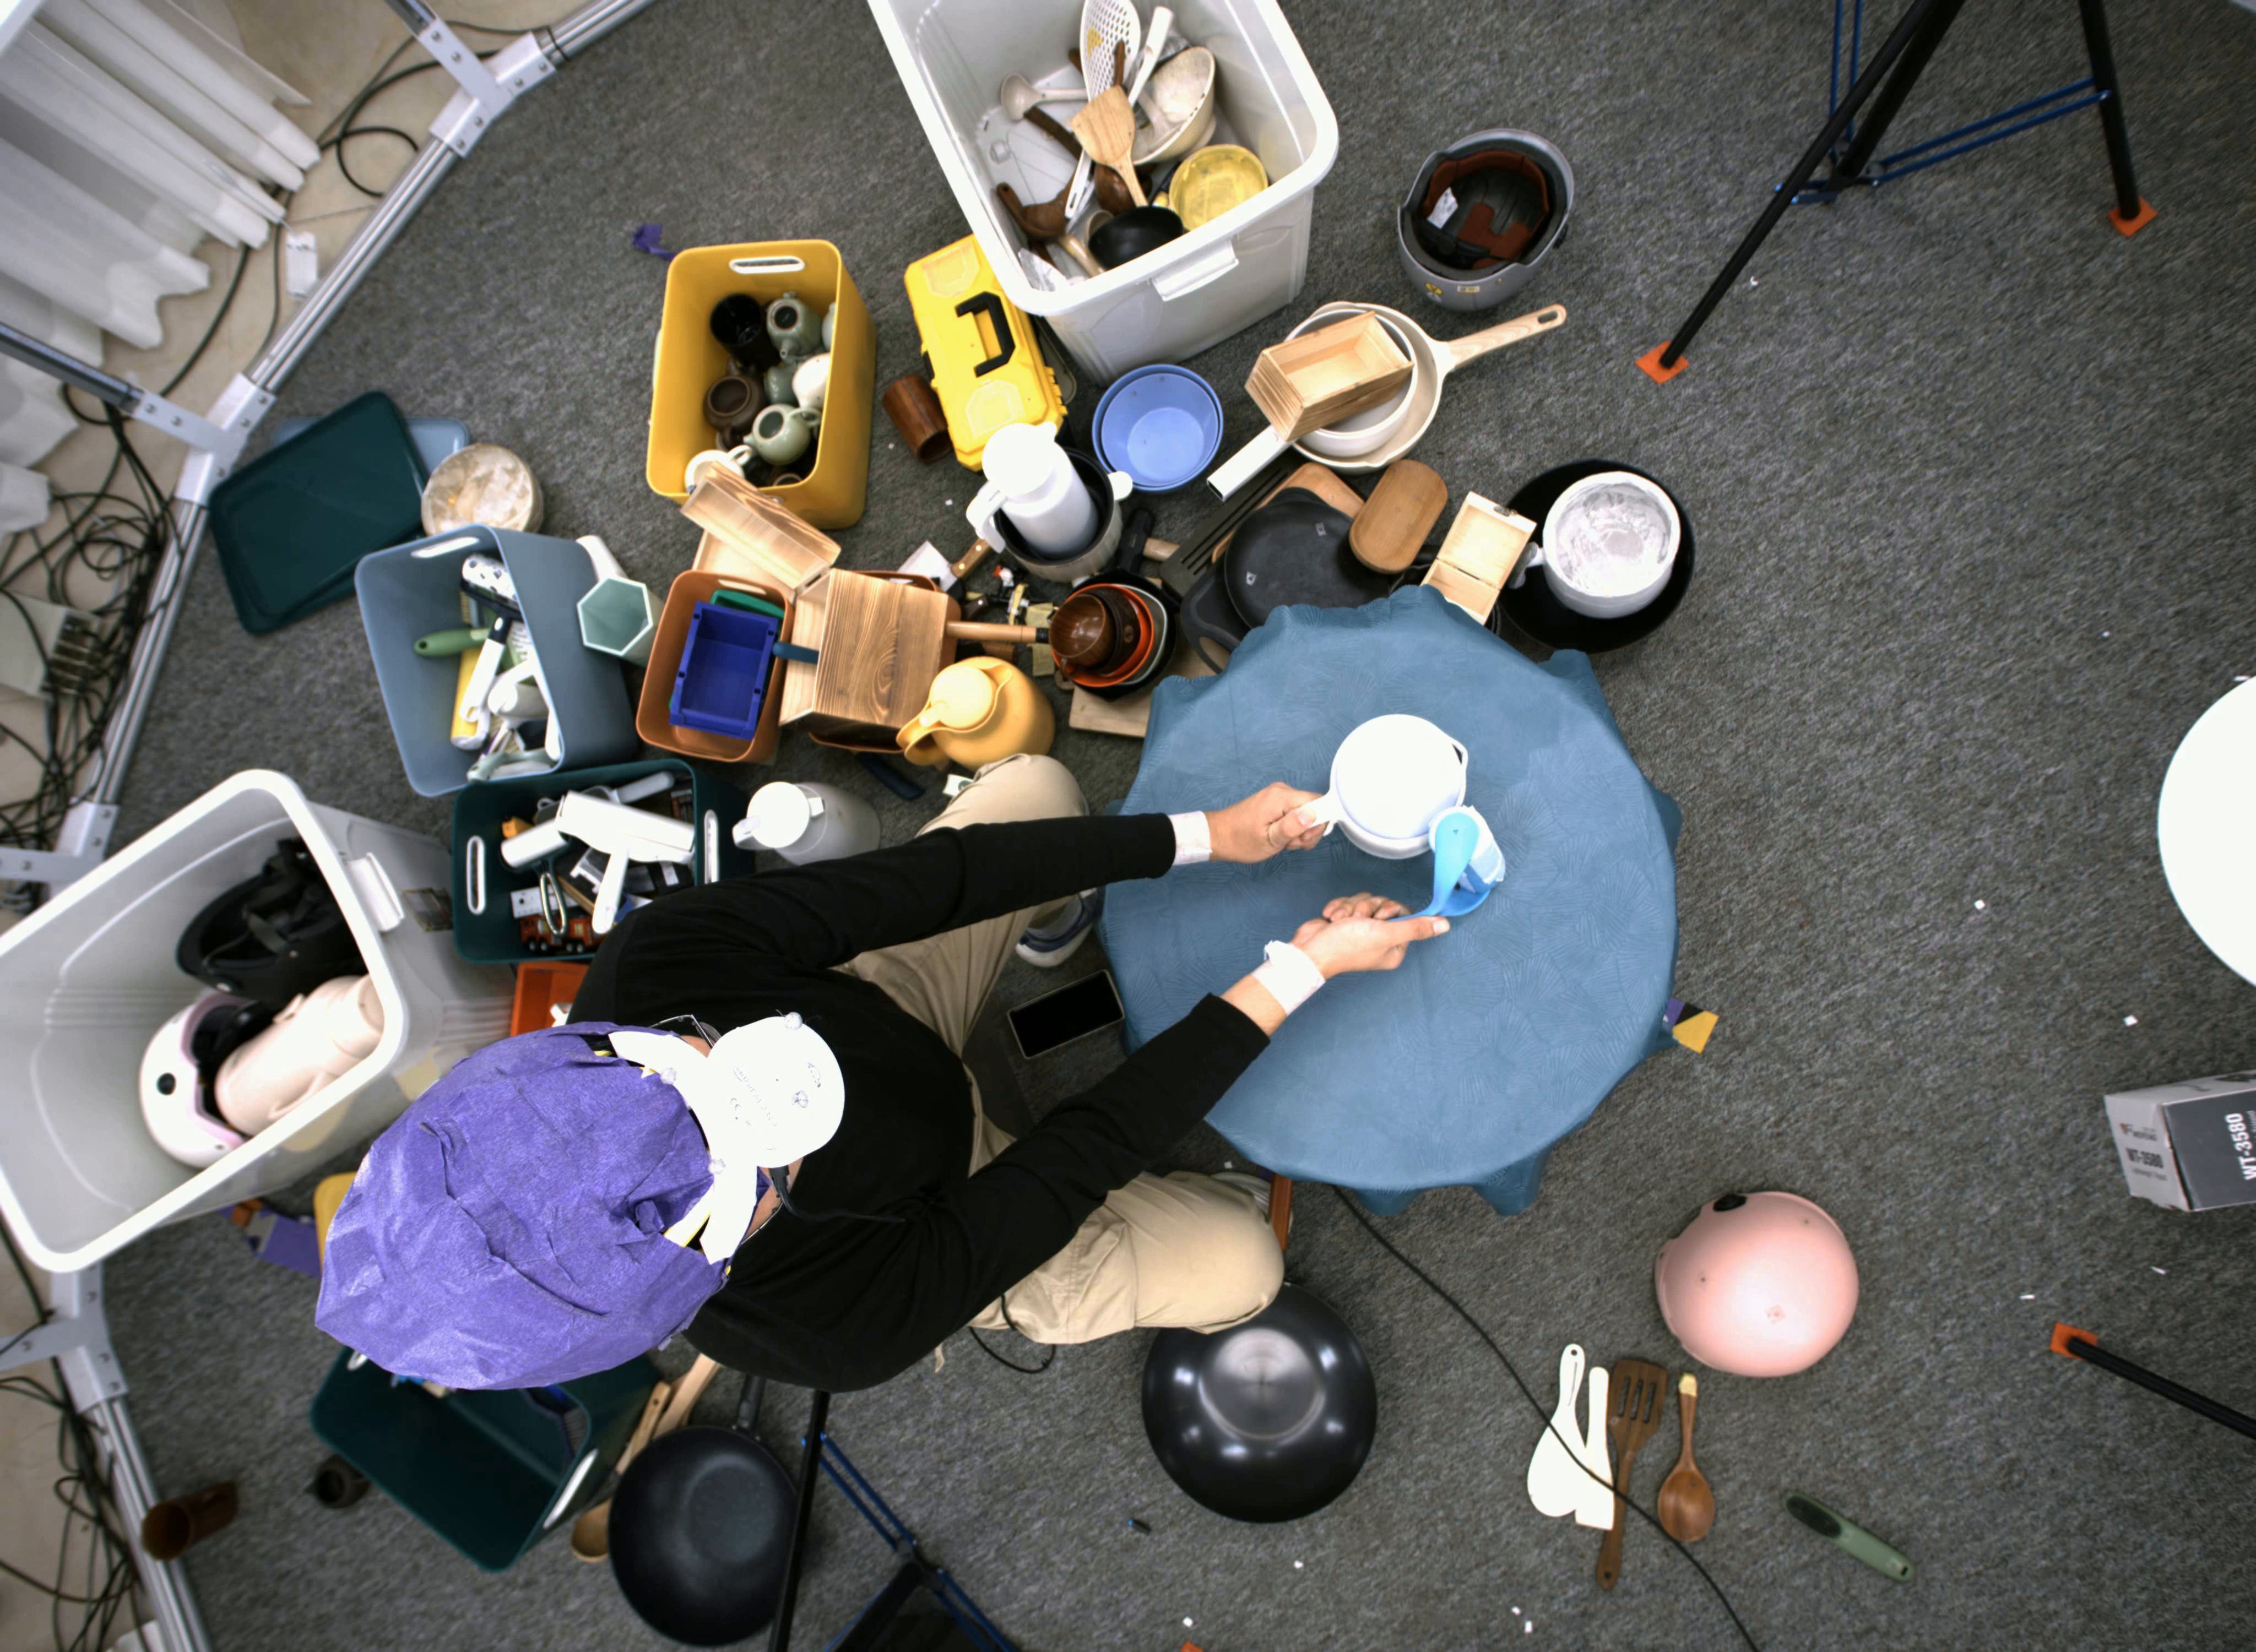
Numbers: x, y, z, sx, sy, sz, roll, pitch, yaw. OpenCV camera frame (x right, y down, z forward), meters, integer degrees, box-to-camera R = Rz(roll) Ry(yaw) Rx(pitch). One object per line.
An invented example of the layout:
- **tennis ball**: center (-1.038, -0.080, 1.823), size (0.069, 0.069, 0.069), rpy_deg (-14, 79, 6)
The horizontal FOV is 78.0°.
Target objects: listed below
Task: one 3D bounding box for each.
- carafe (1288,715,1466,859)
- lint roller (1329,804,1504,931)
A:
- **carafe**: center (0.247, -0.029, 1.383), size (0.192, 0.182, 0.131), rpy_deg (-24, 81, 10)
- **lint roller**: center (0.286, 0.060, 1.344), size (0.182, 0.229, 0.067), rpy_deg (-40, 71, 12)
